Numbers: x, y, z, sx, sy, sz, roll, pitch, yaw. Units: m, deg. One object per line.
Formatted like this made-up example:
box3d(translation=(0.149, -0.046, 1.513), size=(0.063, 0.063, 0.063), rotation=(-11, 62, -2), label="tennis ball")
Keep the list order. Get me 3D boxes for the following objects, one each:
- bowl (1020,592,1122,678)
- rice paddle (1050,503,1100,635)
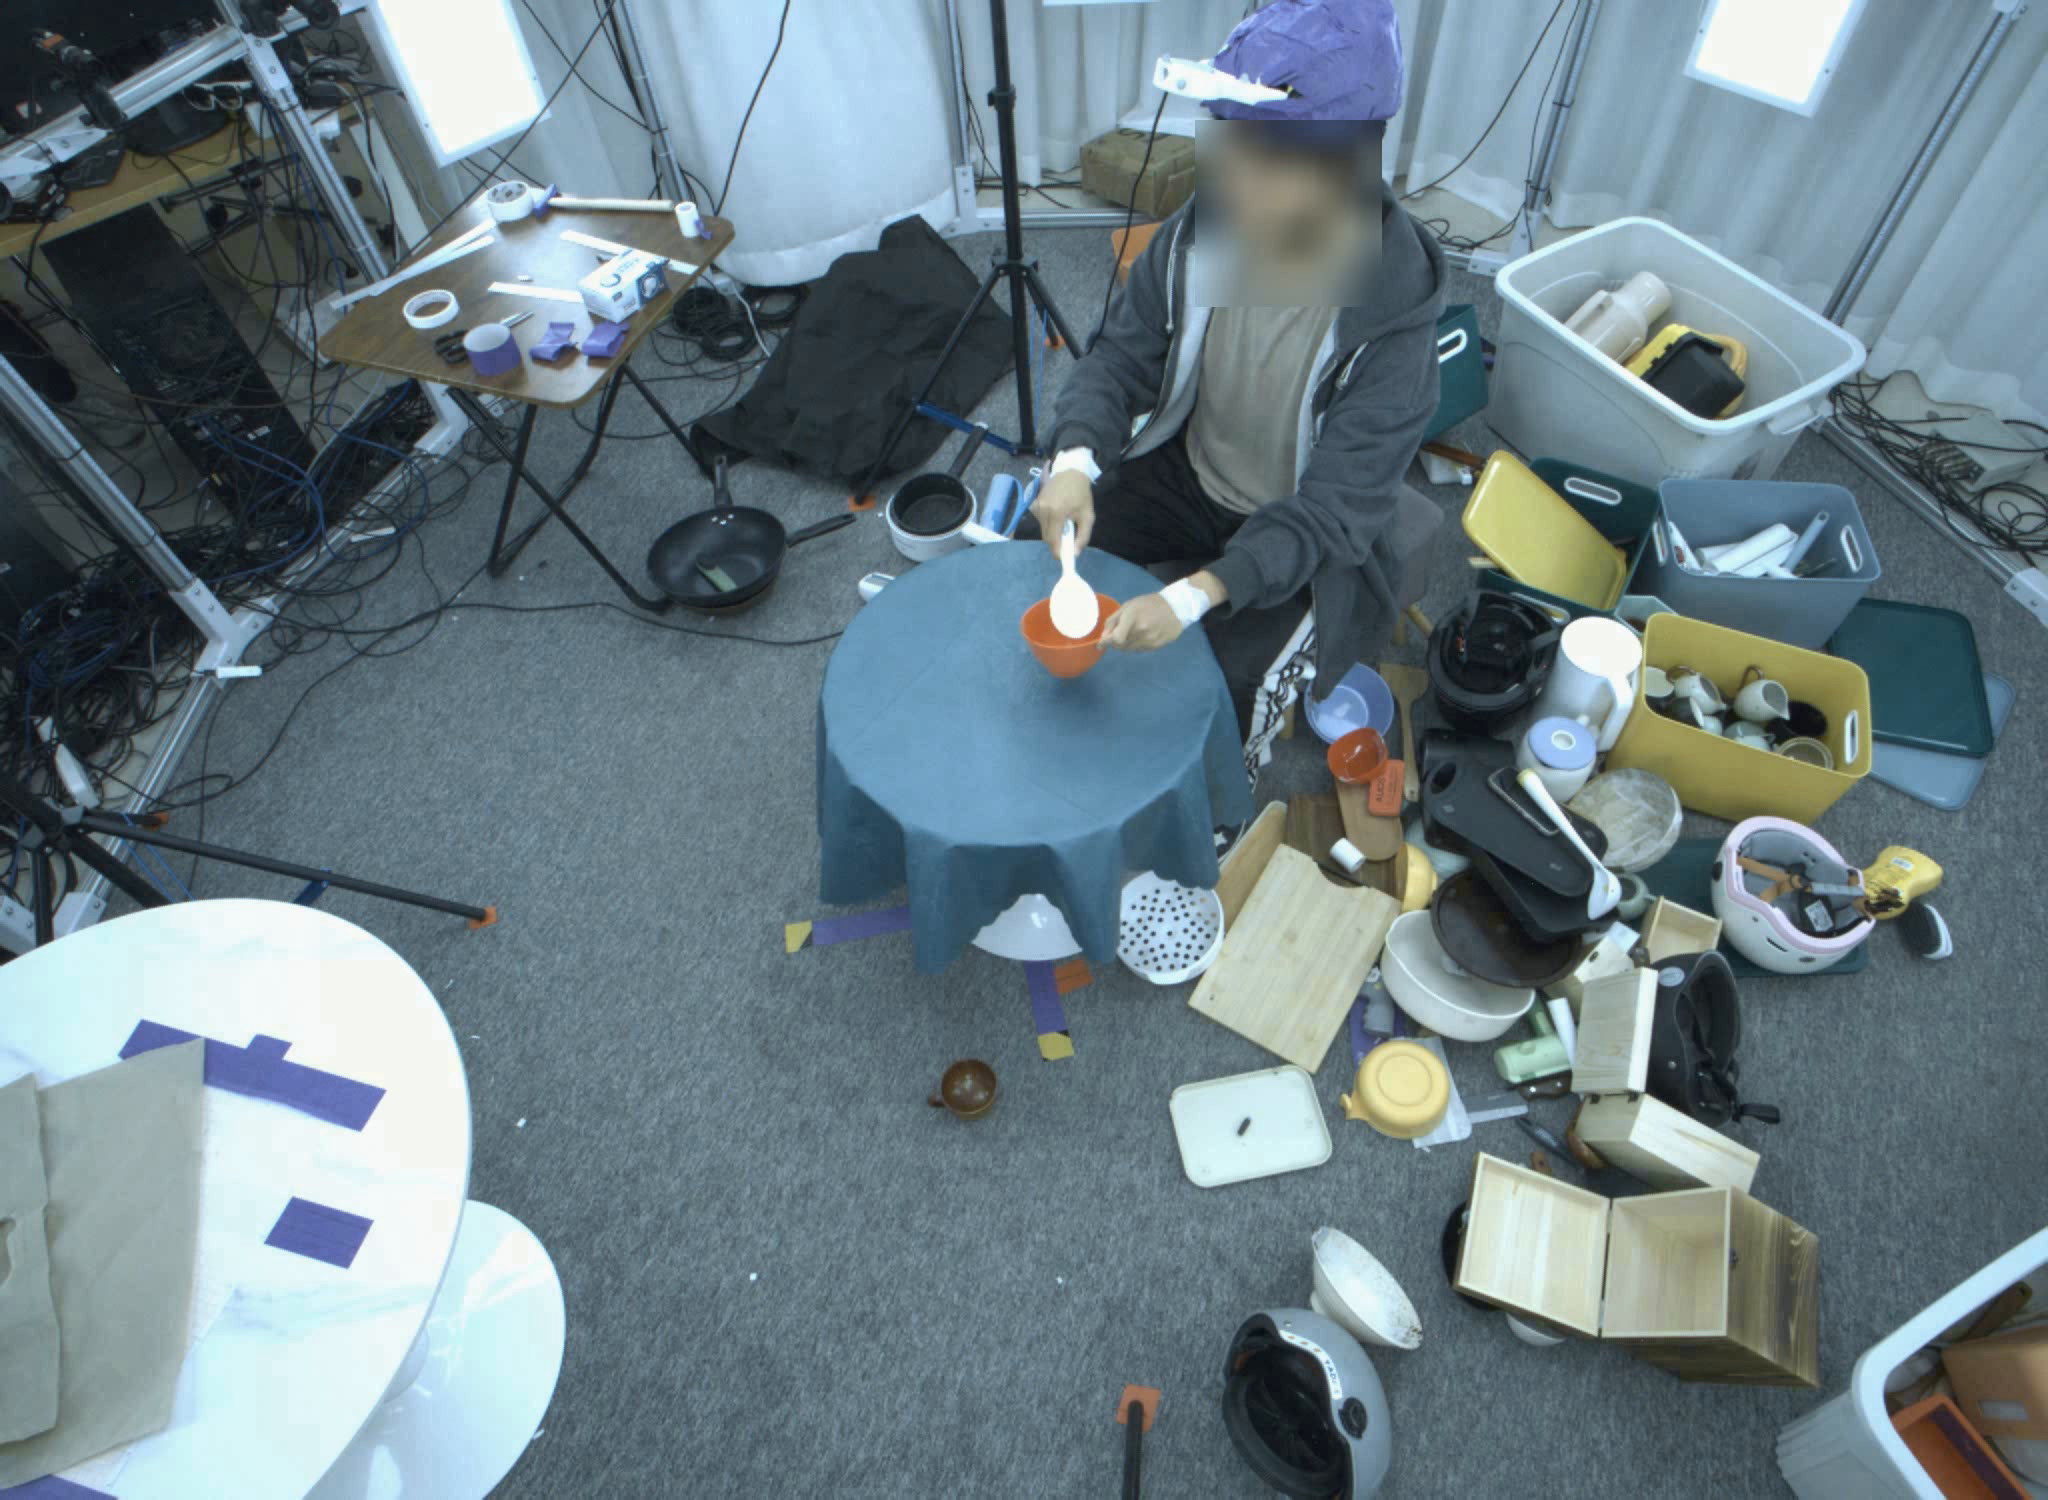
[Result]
box3d(translation=(0.069, -0.157, 1.781), size=(0.148, 0.106, 0.146), rotation=(-1, 47, 3), label="bowl")
box3d(translation=(0.066, -0.261, 1.776), size=(0.069, 0.029, 0.203), rotation=(-7, 74, -2), label="rice paddle")
